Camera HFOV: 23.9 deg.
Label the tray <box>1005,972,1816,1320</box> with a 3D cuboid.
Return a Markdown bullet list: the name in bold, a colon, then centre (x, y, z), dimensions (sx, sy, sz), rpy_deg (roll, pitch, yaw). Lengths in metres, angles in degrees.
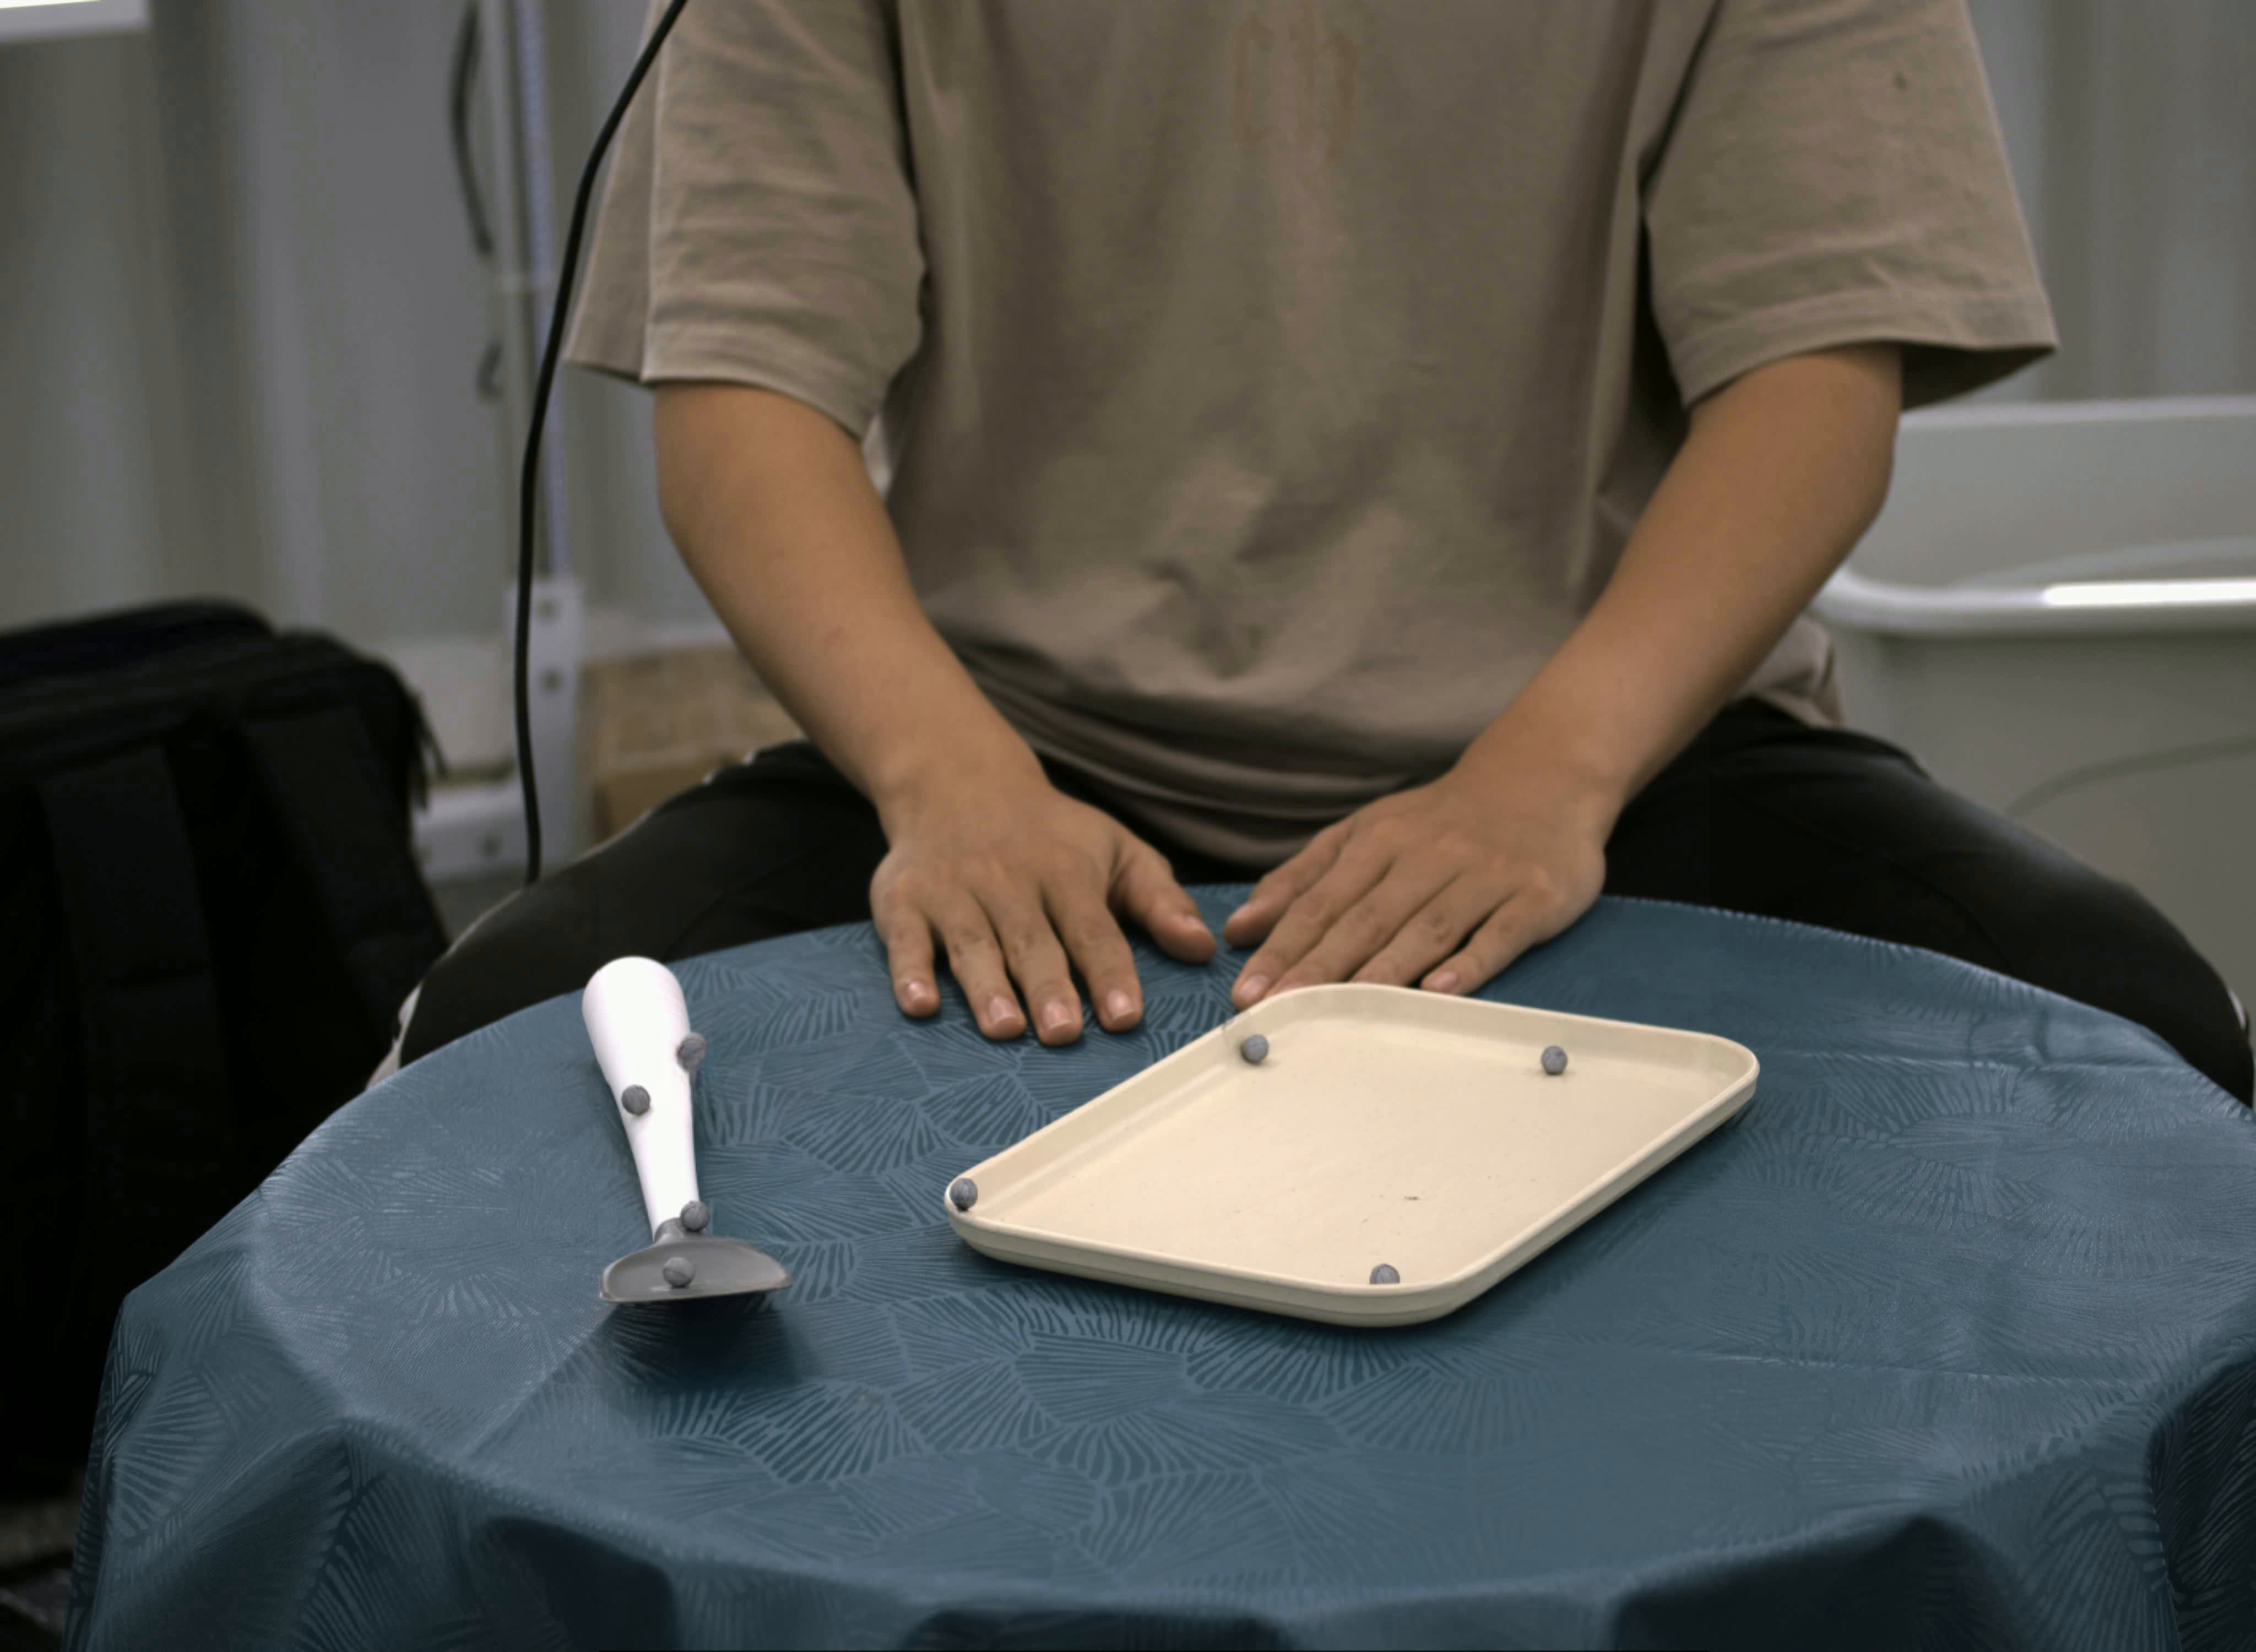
- **tray**: centre (0.086, 0.092, 1.554), dimensions (0.174, 0.017, 0.235), rpy_deg (9, 19, 31)

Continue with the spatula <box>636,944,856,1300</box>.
- **spatula**: centre (-0.118, 0.092, 1.553), dimensions (0.058, 0.032, 0.290), rpy_deg (0, 16, -8)
